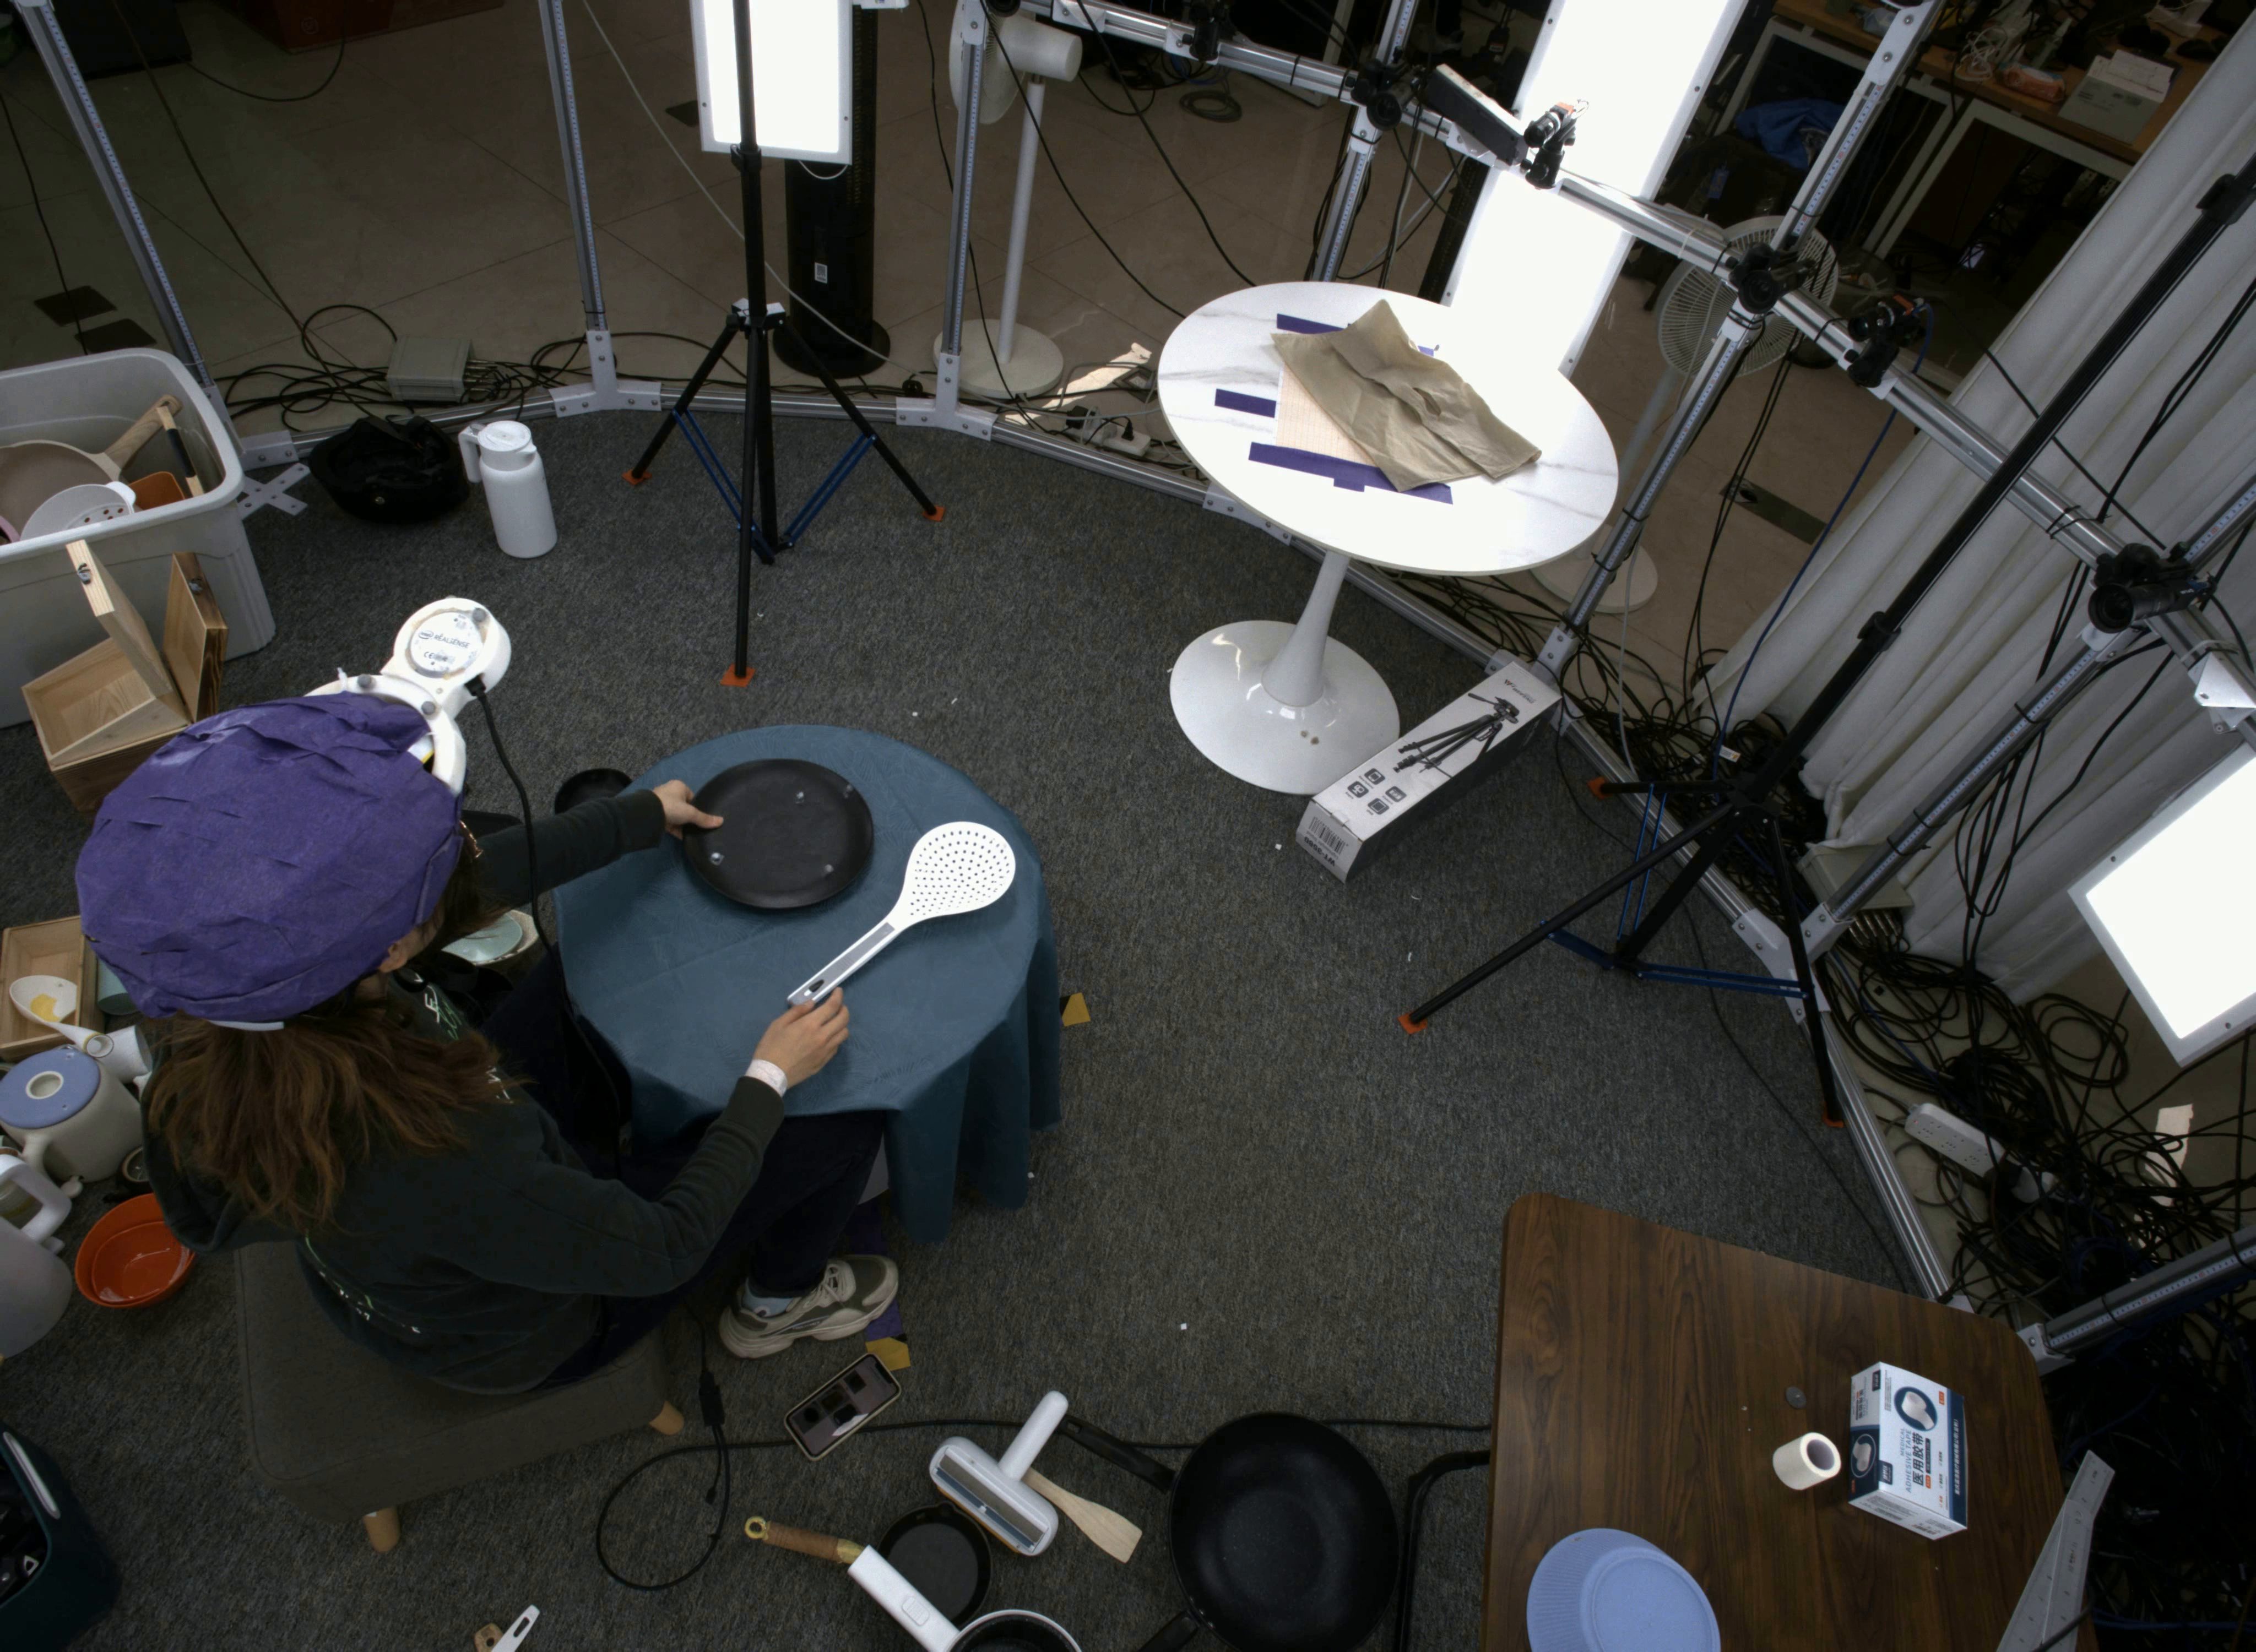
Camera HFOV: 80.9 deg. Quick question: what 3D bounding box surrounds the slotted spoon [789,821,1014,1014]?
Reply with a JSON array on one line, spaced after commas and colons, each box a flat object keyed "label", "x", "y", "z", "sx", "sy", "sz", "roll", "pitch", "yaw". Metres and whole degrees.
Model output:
[{"label": "slotted spoon", "x": -0.288, "y": 0.116, "z": 1.649, "sx": 0.133, "sy": 0.047, "sz": 0.350, "roll": 38, "pitch": 55, "yaw": 18}]

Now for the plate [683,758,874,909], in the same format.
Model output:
[{"label": "plate", "x": -0.455, "y": 0.011, "z": 1.695, "sx": 0.244, "sy": 0.024, "sz": 0.240, "roll": 9, "pitch": 53, "yaw": -10}]
